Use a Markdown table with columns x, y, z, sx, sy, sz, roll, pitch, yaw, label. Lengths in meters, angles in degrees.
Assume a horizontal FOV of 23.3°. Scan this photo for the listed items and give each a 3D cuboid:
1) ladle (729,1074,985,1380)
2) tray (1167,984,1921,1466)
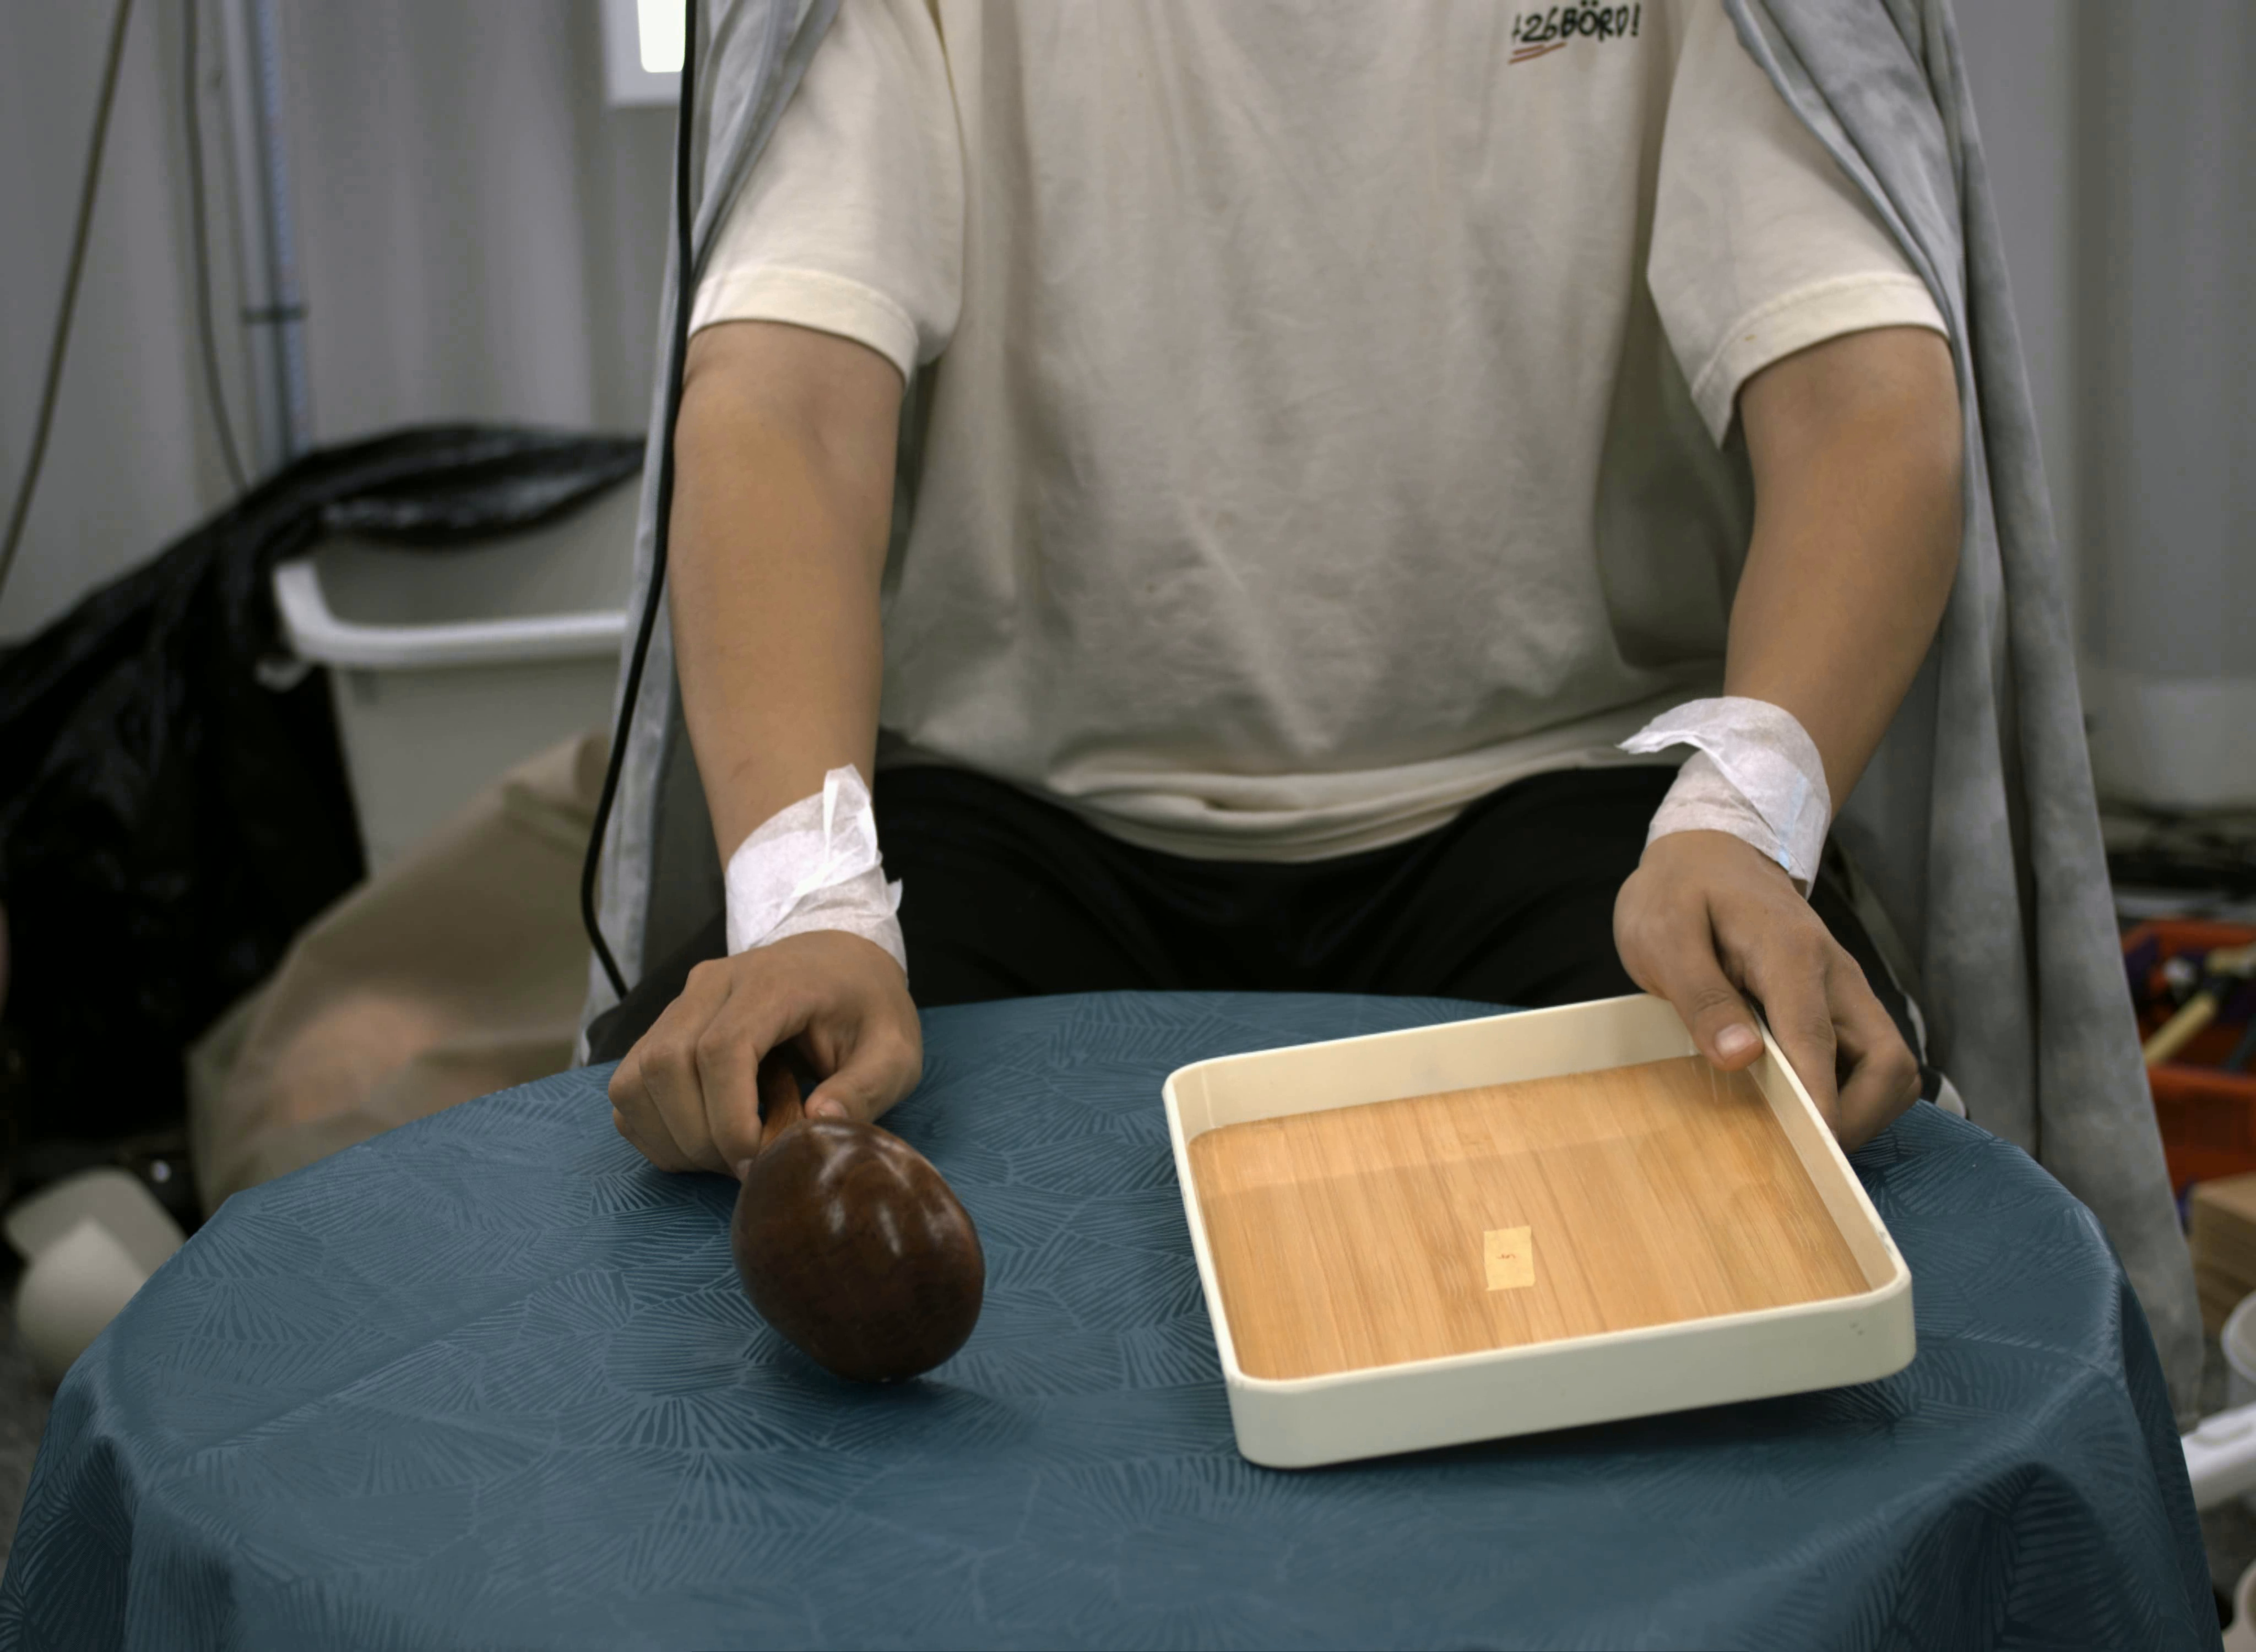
| x | y | z | sx | sy | sz | roll | pitch | yaw | label |
| --- | --- | --- | --- | --- | --- | --- | --- | --- | --- |
| -0.081 | 0.102 | 1.659 | 0.076 | 0.082 | 0.275 | -16 | 10 | 2 | ladle |
| 0.115 | 0.113 | 1.618 | 0.191 | 0.027 | 0.302 | -9 | 15 | -1 | tray |
